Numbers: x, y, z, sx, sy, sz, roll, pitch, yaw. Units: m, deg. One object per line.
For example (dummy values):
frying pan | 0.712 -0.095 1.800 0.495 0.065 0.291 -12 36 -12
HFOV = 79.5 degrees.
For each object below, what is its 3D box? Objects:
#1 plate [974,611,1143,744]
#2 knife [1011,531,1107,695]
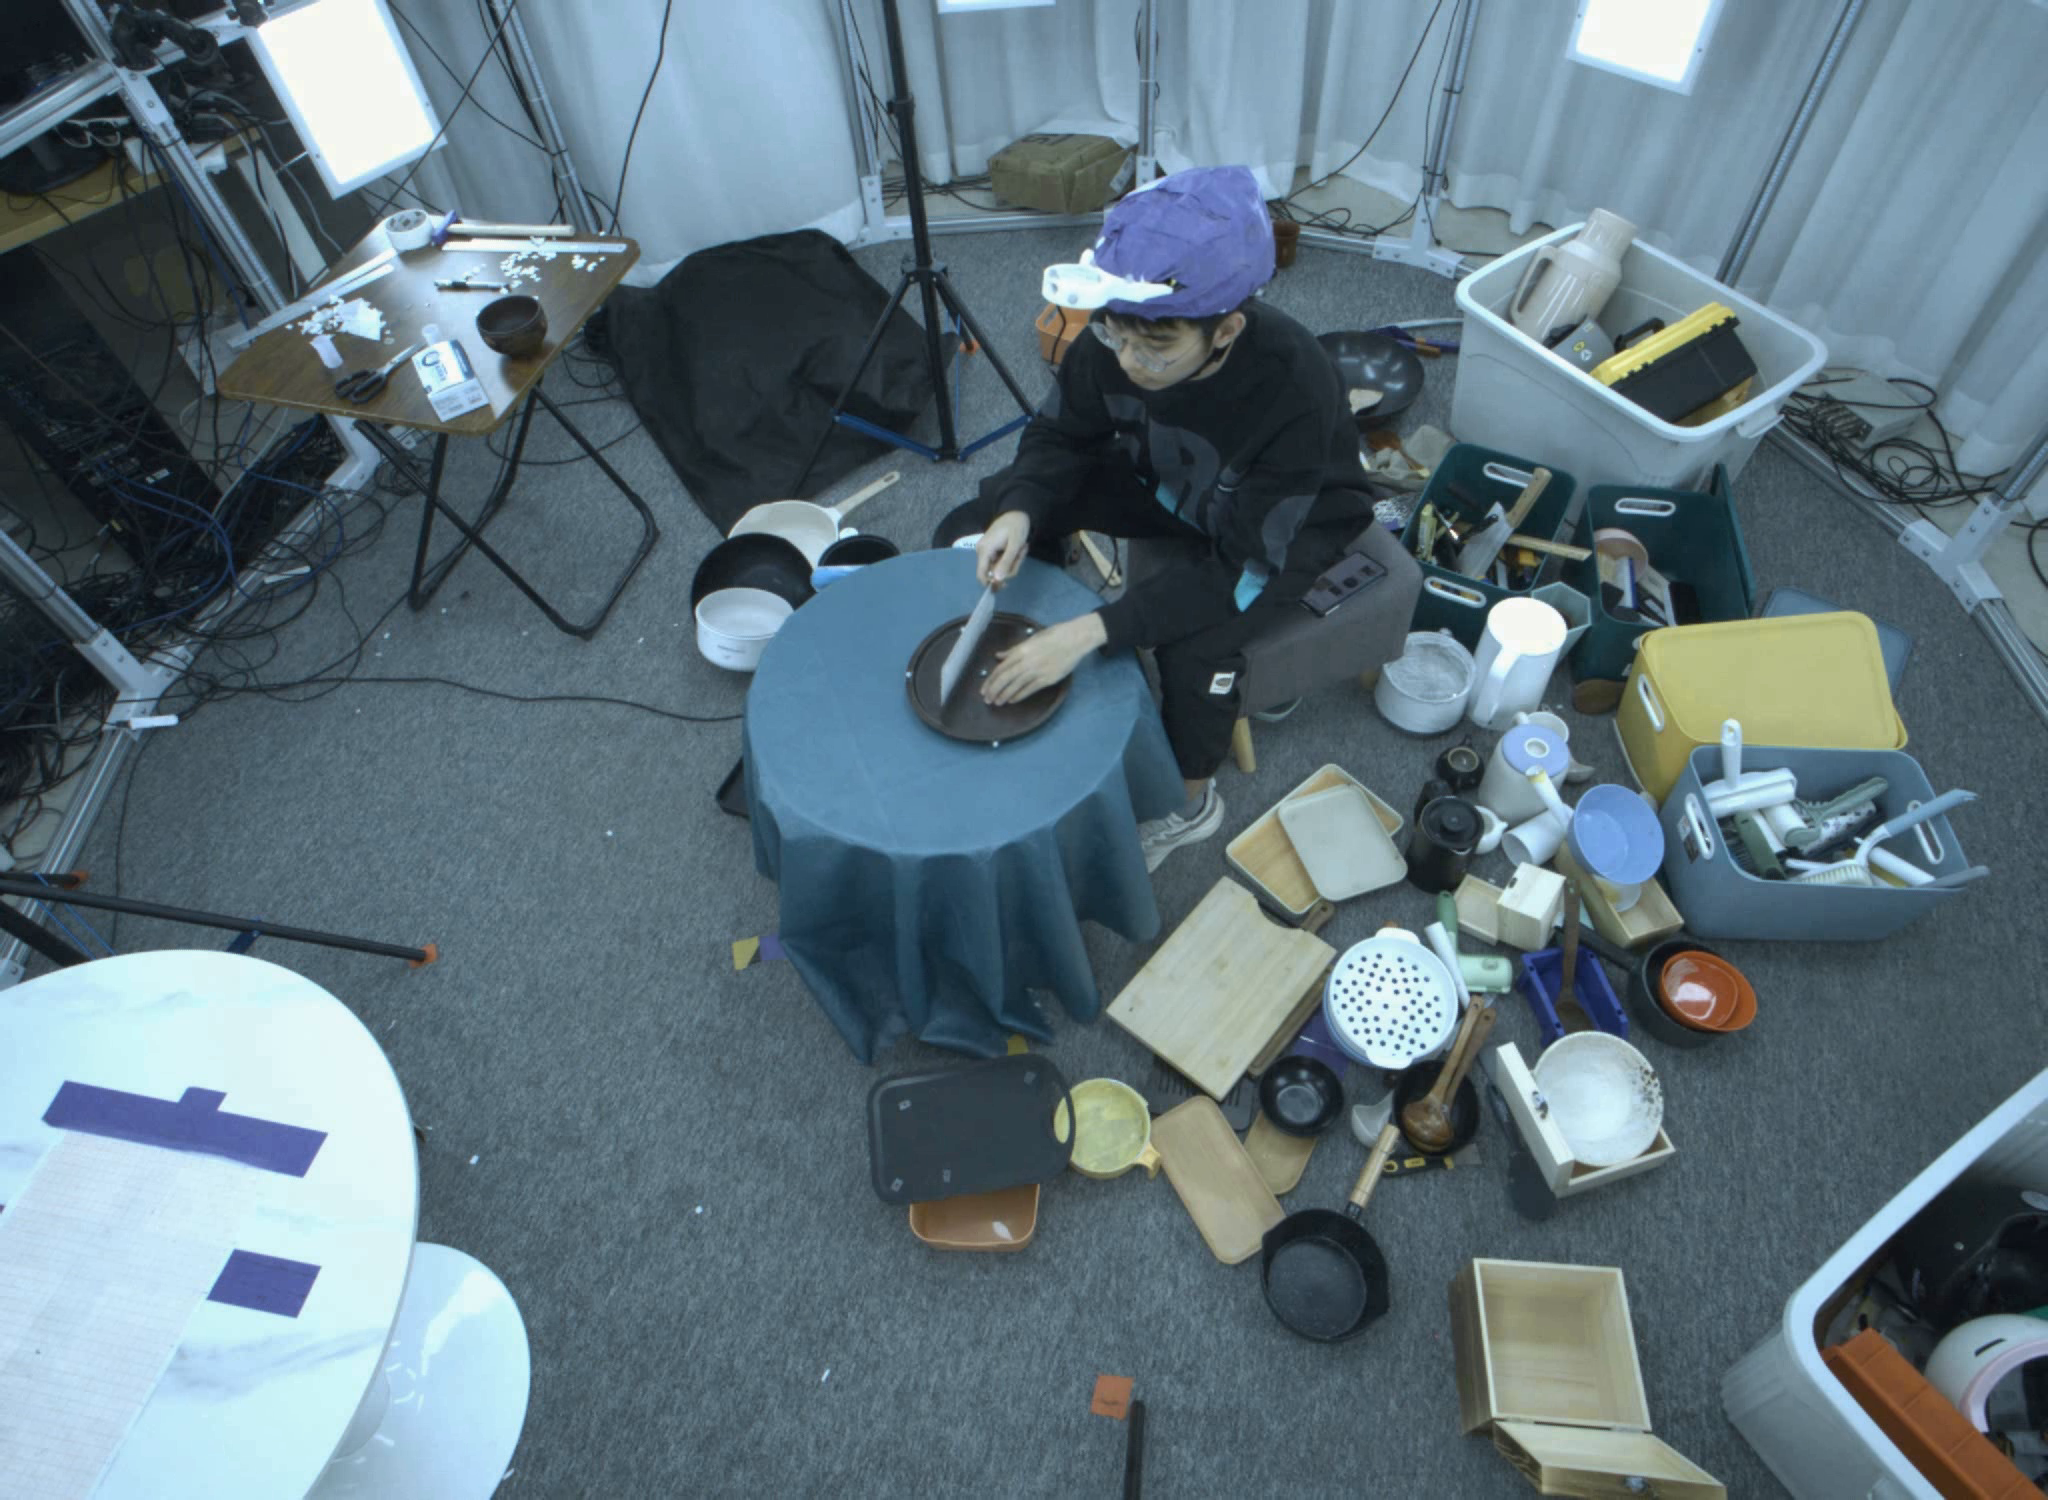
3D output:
plate | 0.052 -0.110 1.847 0.254 0.029 0.252 -2 54 3
knife | 0.051 -0.205 1.849 0.021 0.093 0.306 24 59 12
